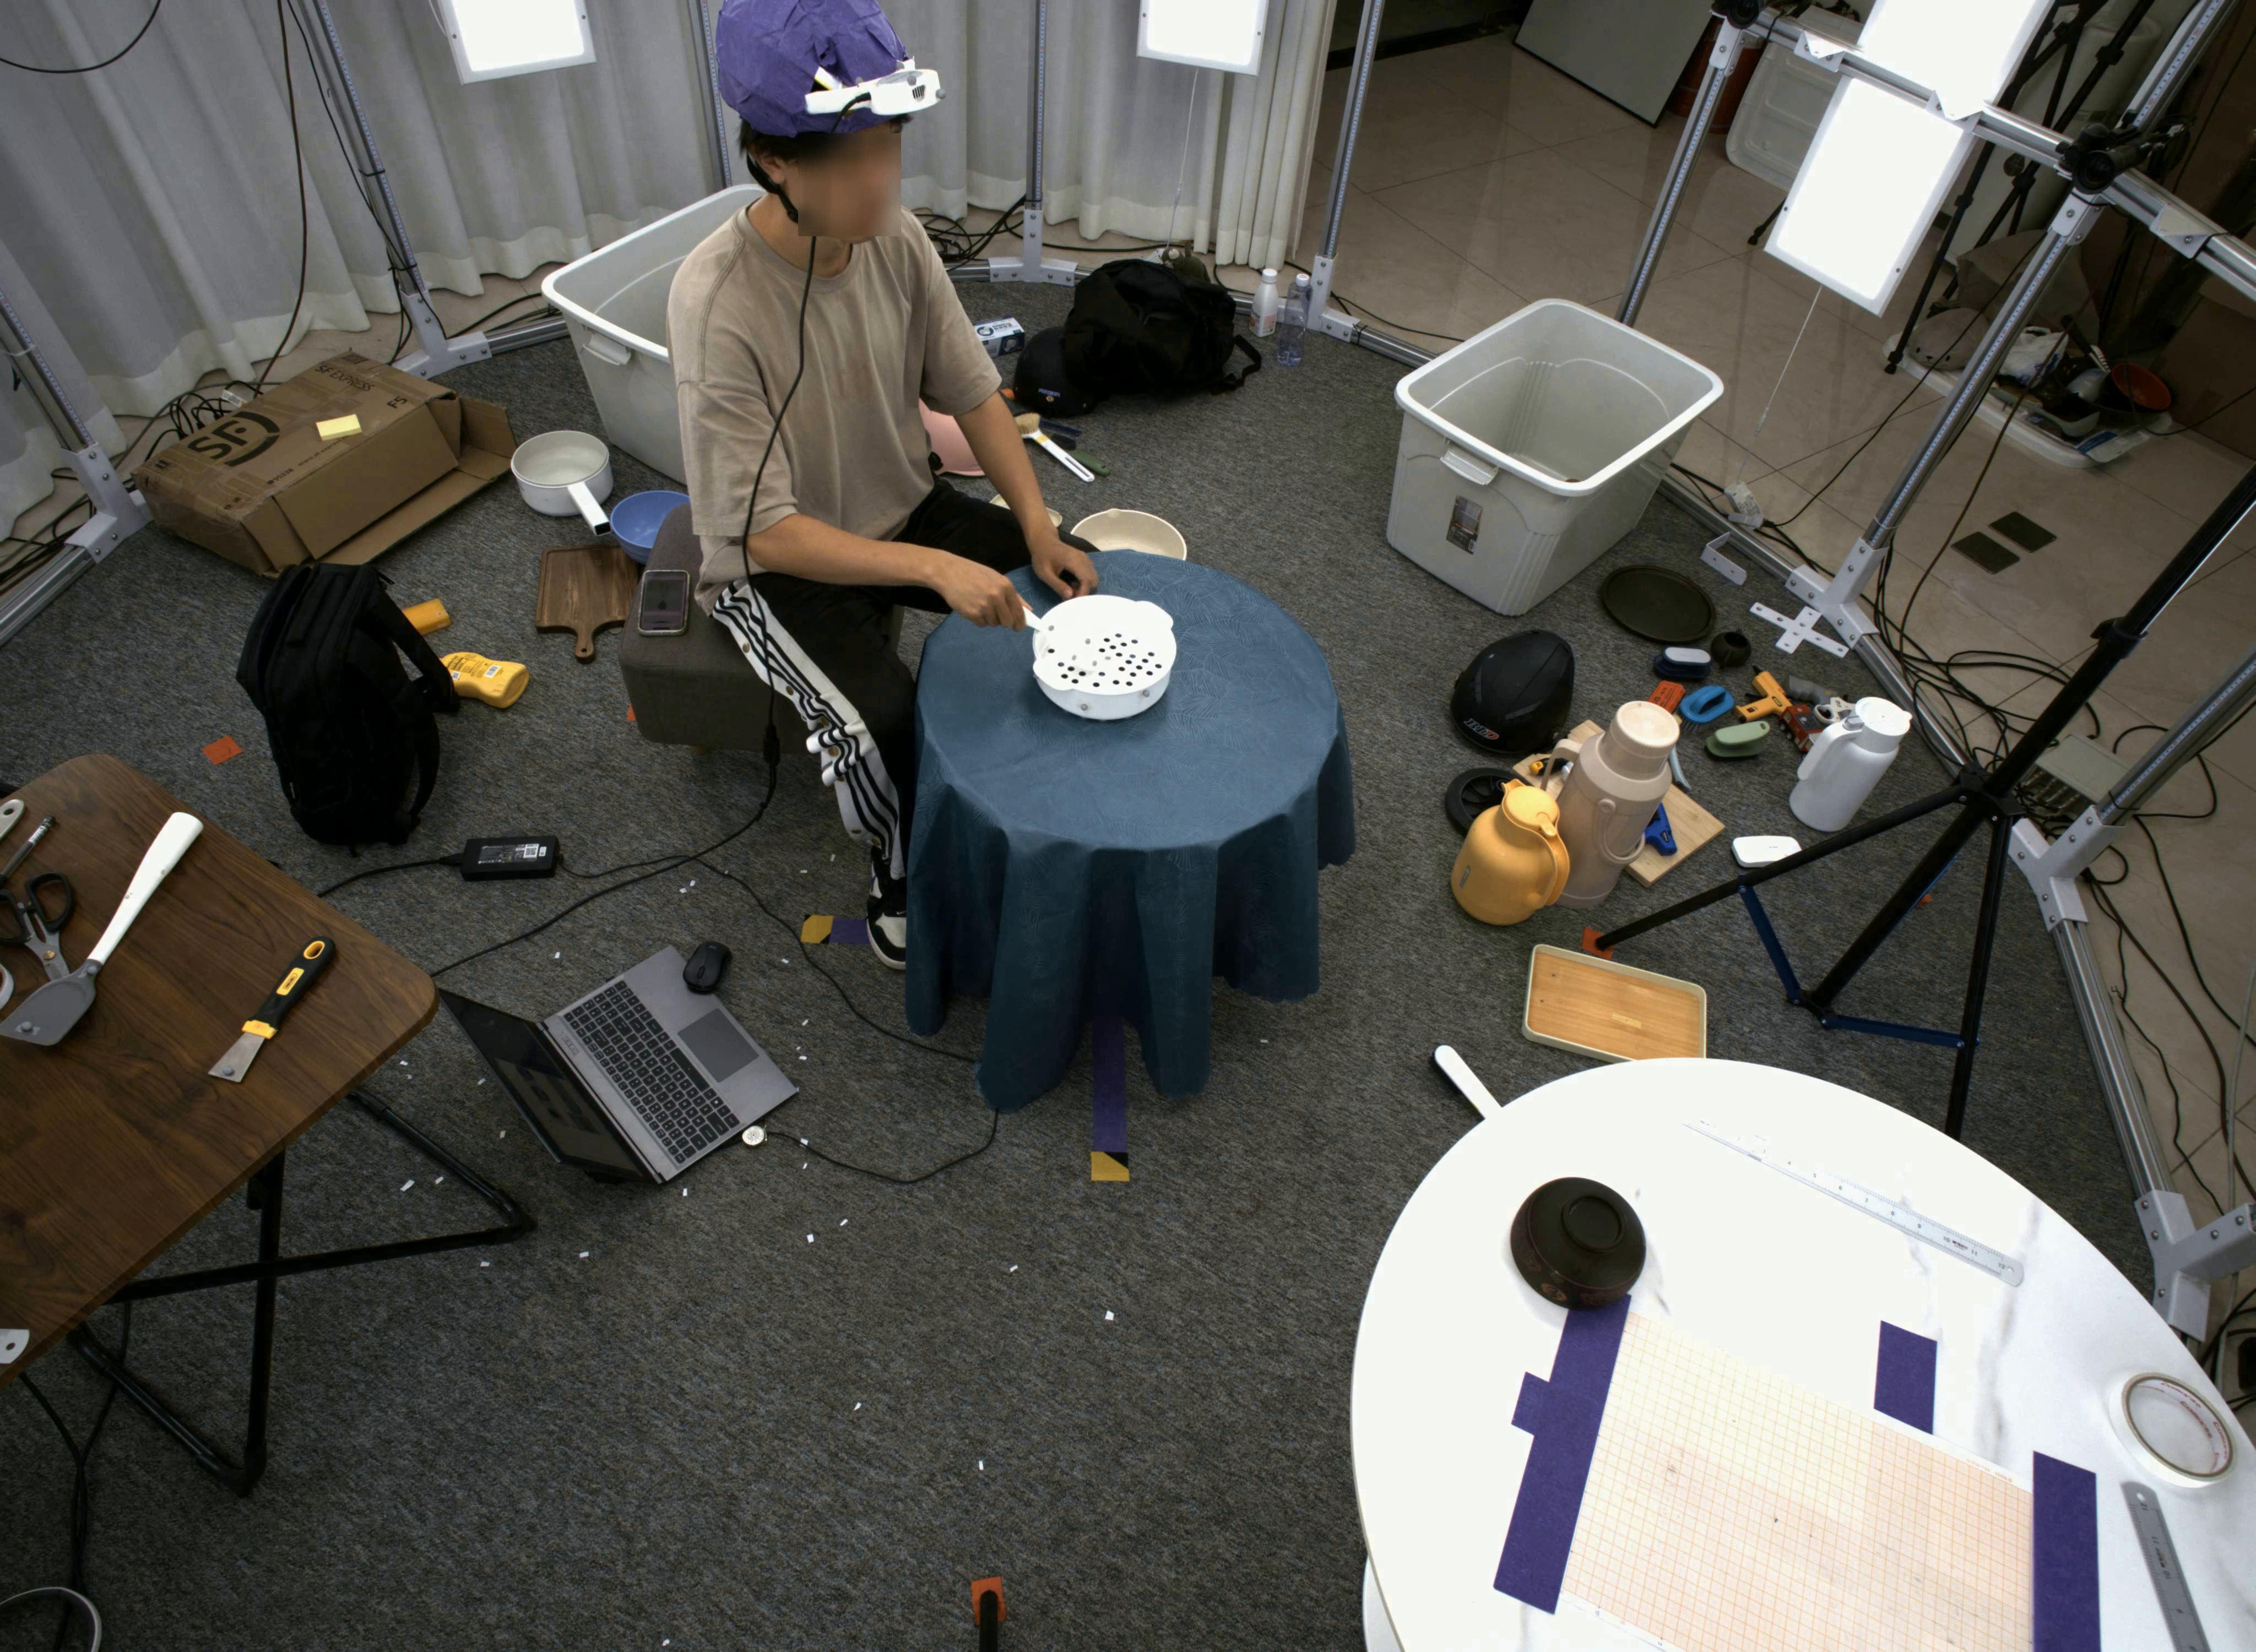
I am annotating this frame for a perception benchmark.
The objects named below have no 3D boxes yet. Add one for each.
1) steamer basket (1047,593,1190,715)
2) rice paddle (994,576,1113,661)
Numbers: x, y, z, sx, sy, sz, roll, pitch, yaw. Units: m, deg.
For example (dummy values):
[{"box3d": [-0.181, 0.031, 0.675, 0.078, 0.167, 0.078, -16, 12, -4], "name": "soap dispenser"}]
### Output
[{"box3d": [-0.016, -0.243, 1.822, 0.232, 0.067, 0.205, -32, 59, -32], "name": "steamer basket"}, {"box3d": [-0.095, -0.287, 1.780, 0.202, 0.029, 0.070, 25, 47, -34], "name": "rice paddle"}]
